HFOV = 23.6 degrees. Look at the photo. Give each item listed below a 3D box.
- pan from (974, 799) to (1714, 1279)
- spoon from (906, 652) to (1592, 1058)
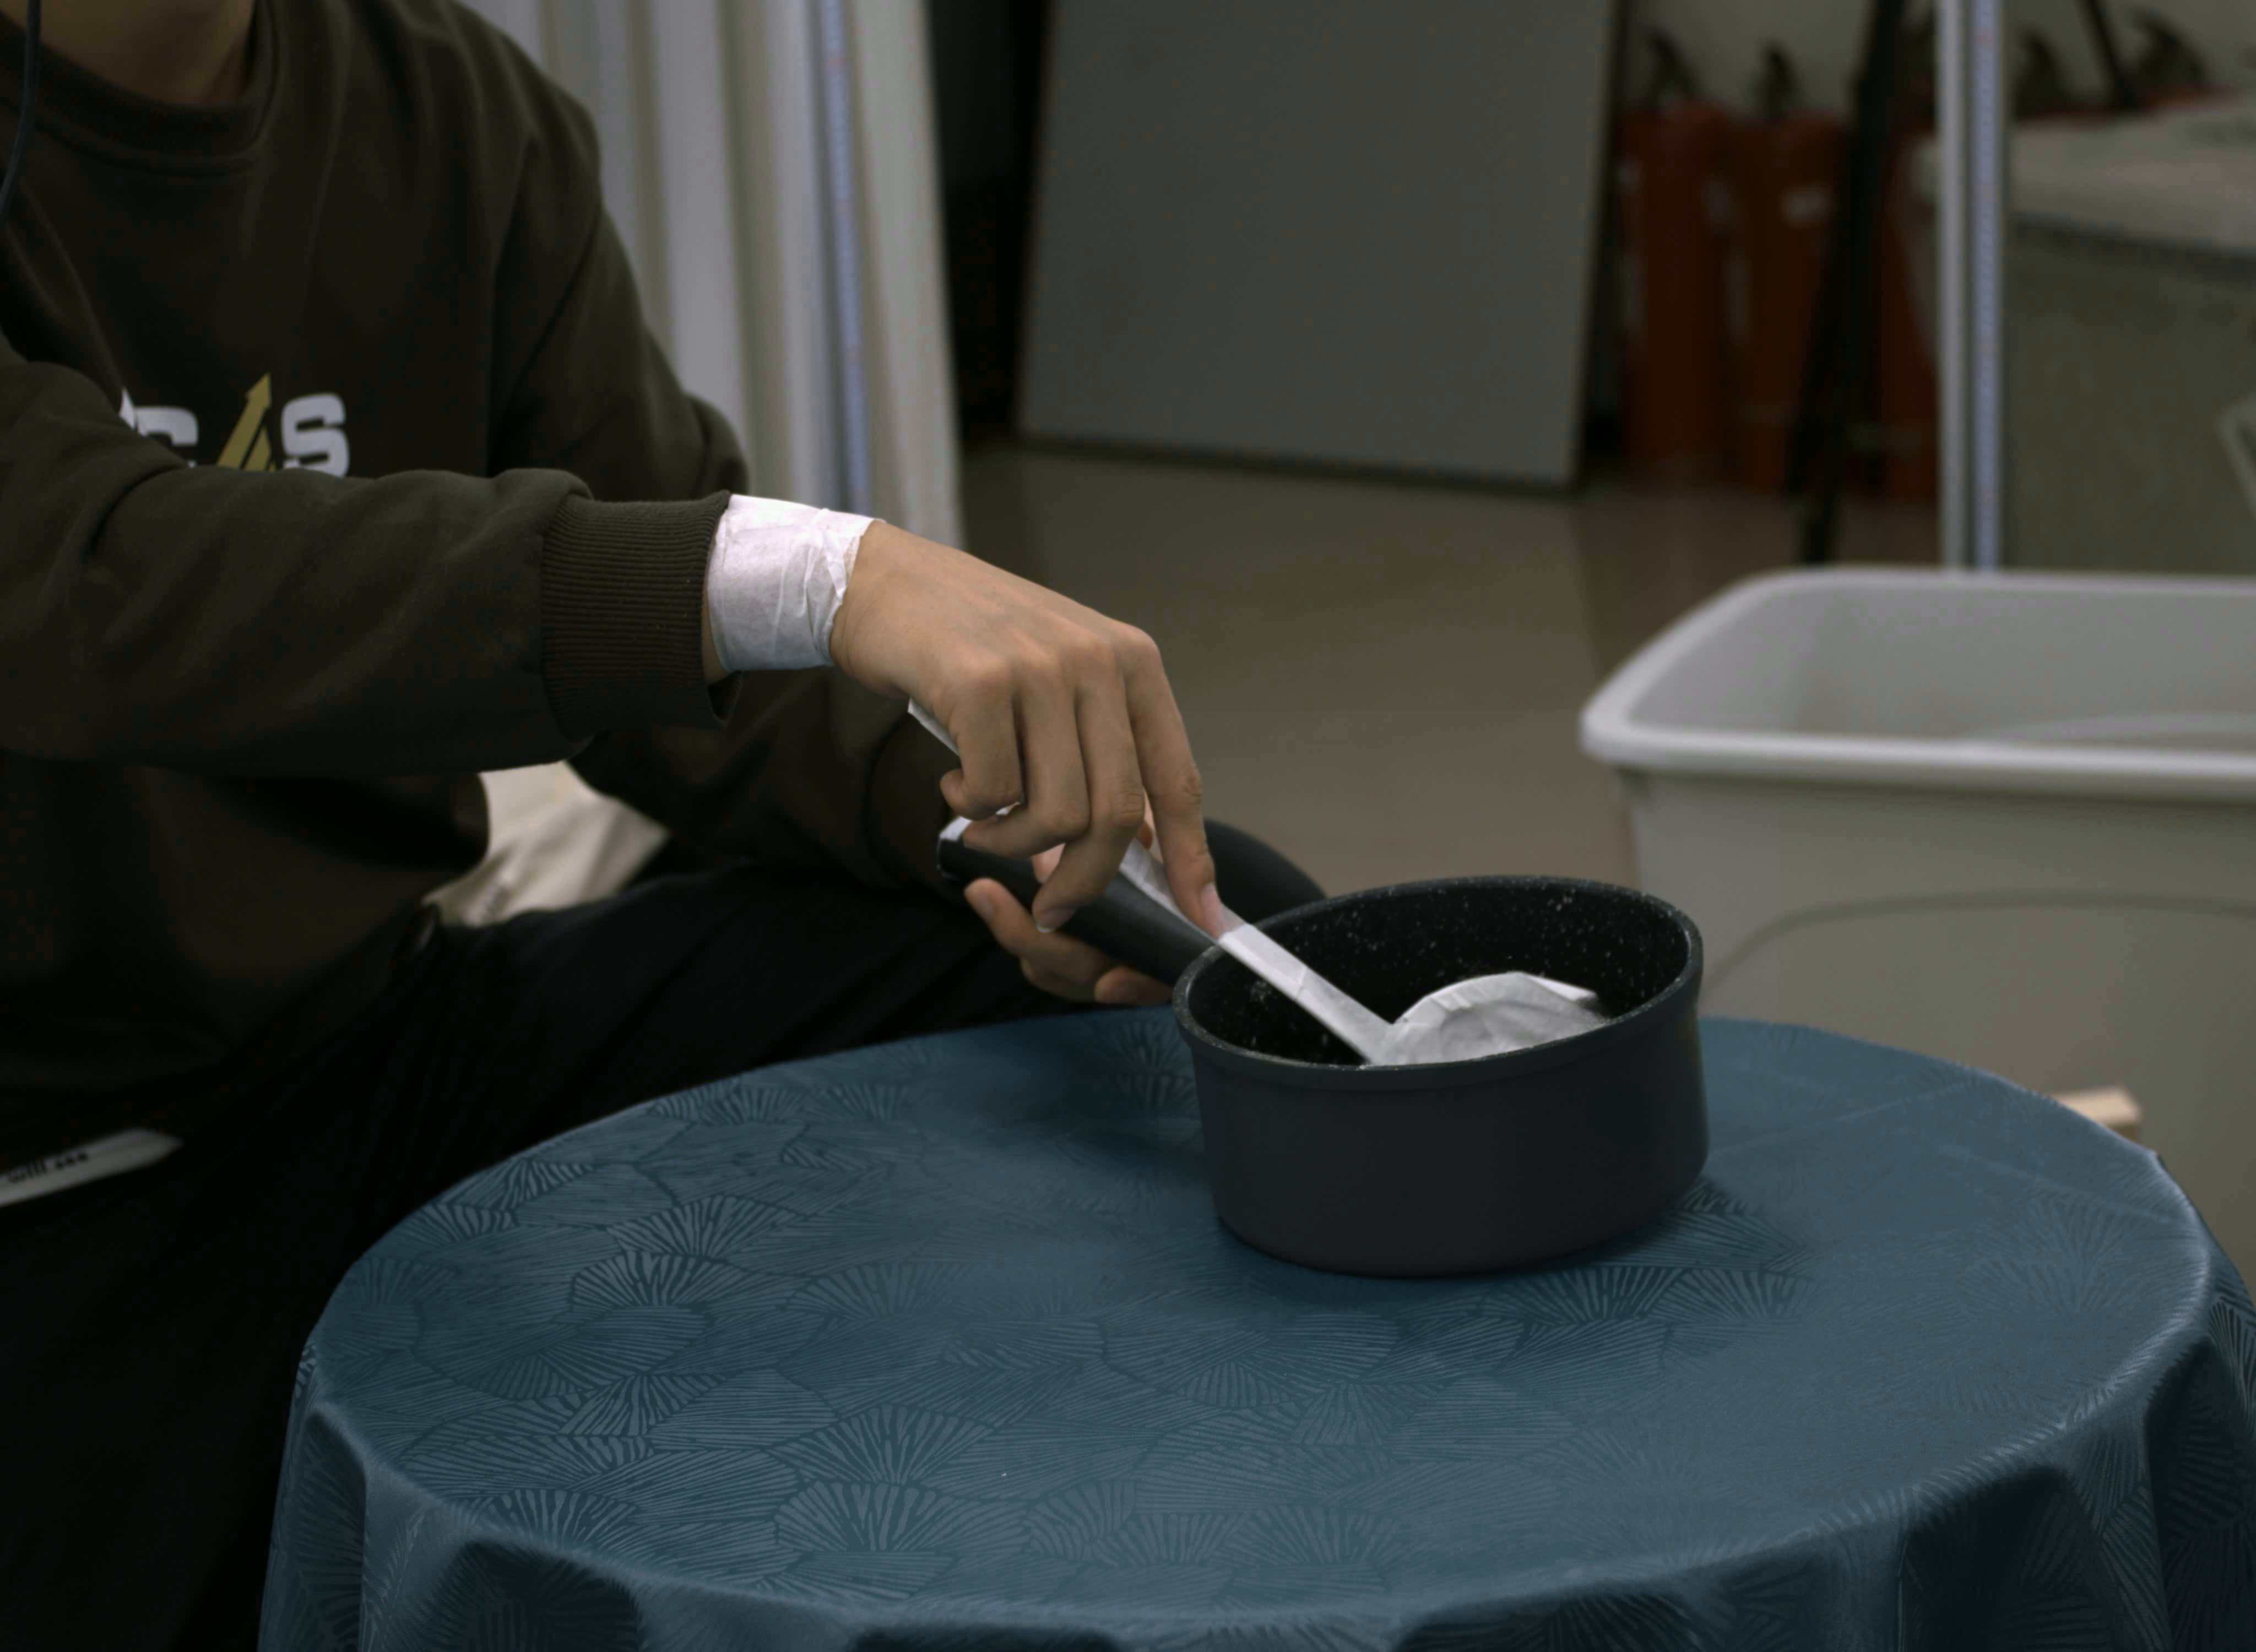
[{"bbox_3d":[0.056,0.063,1.787,0.168,0.087,0.332,-19,21,-32],"label":"pan"},{"bbox_3d":[0.051,0.019,1.713,0.060,0.275,0.100,-39,17,41],"label":"spoon"}]
